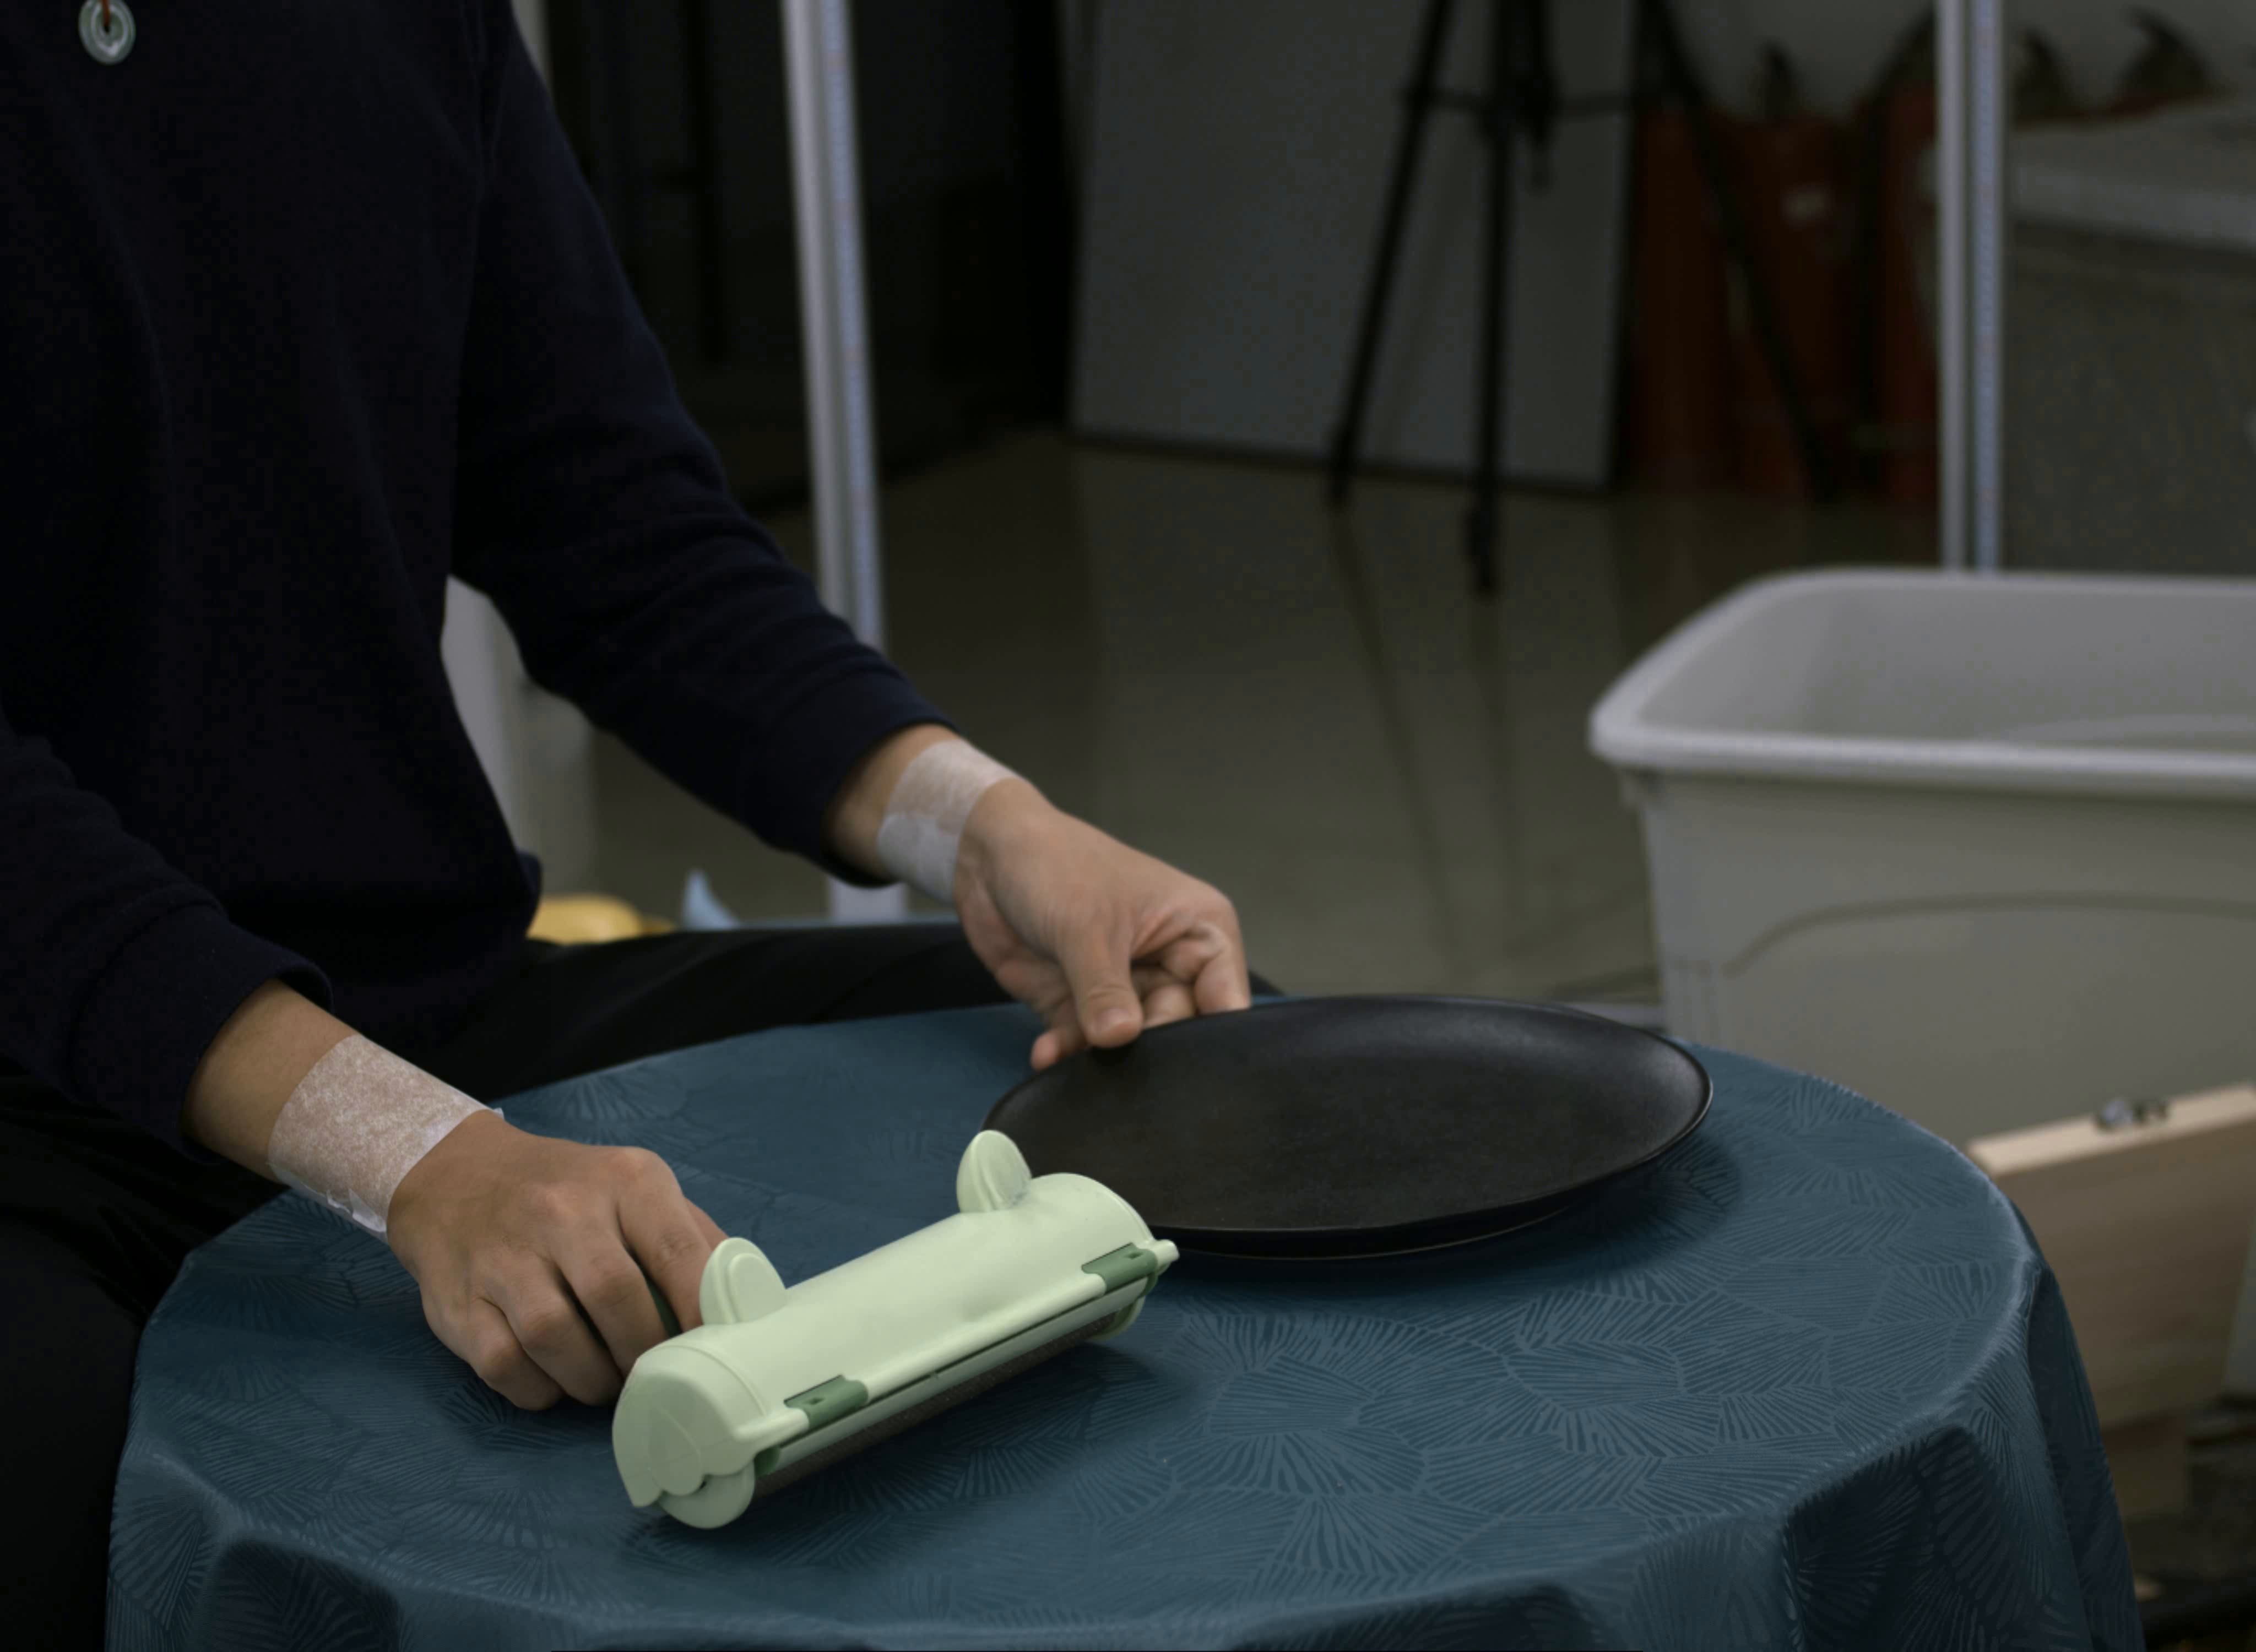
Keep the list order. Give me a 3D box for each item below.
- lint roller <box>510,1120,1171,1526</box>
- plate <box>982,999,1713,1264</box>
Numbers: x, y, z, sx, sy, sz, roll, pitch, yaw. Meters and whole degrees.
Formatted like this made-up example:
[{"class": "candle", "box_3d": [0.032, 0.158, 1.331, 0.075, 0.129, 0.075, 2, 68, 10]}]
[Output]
[{"class": "lint roller", "box_3d": [-0.112, 0.130, 1.586, 0.184, 0.083, 0.195, 14, 20, 35]}, {"class": "plate", "box_3d": [0.072, 0.102, 1.767, 0.241, 0.023, 0.245, -5, 15, 0]}]
